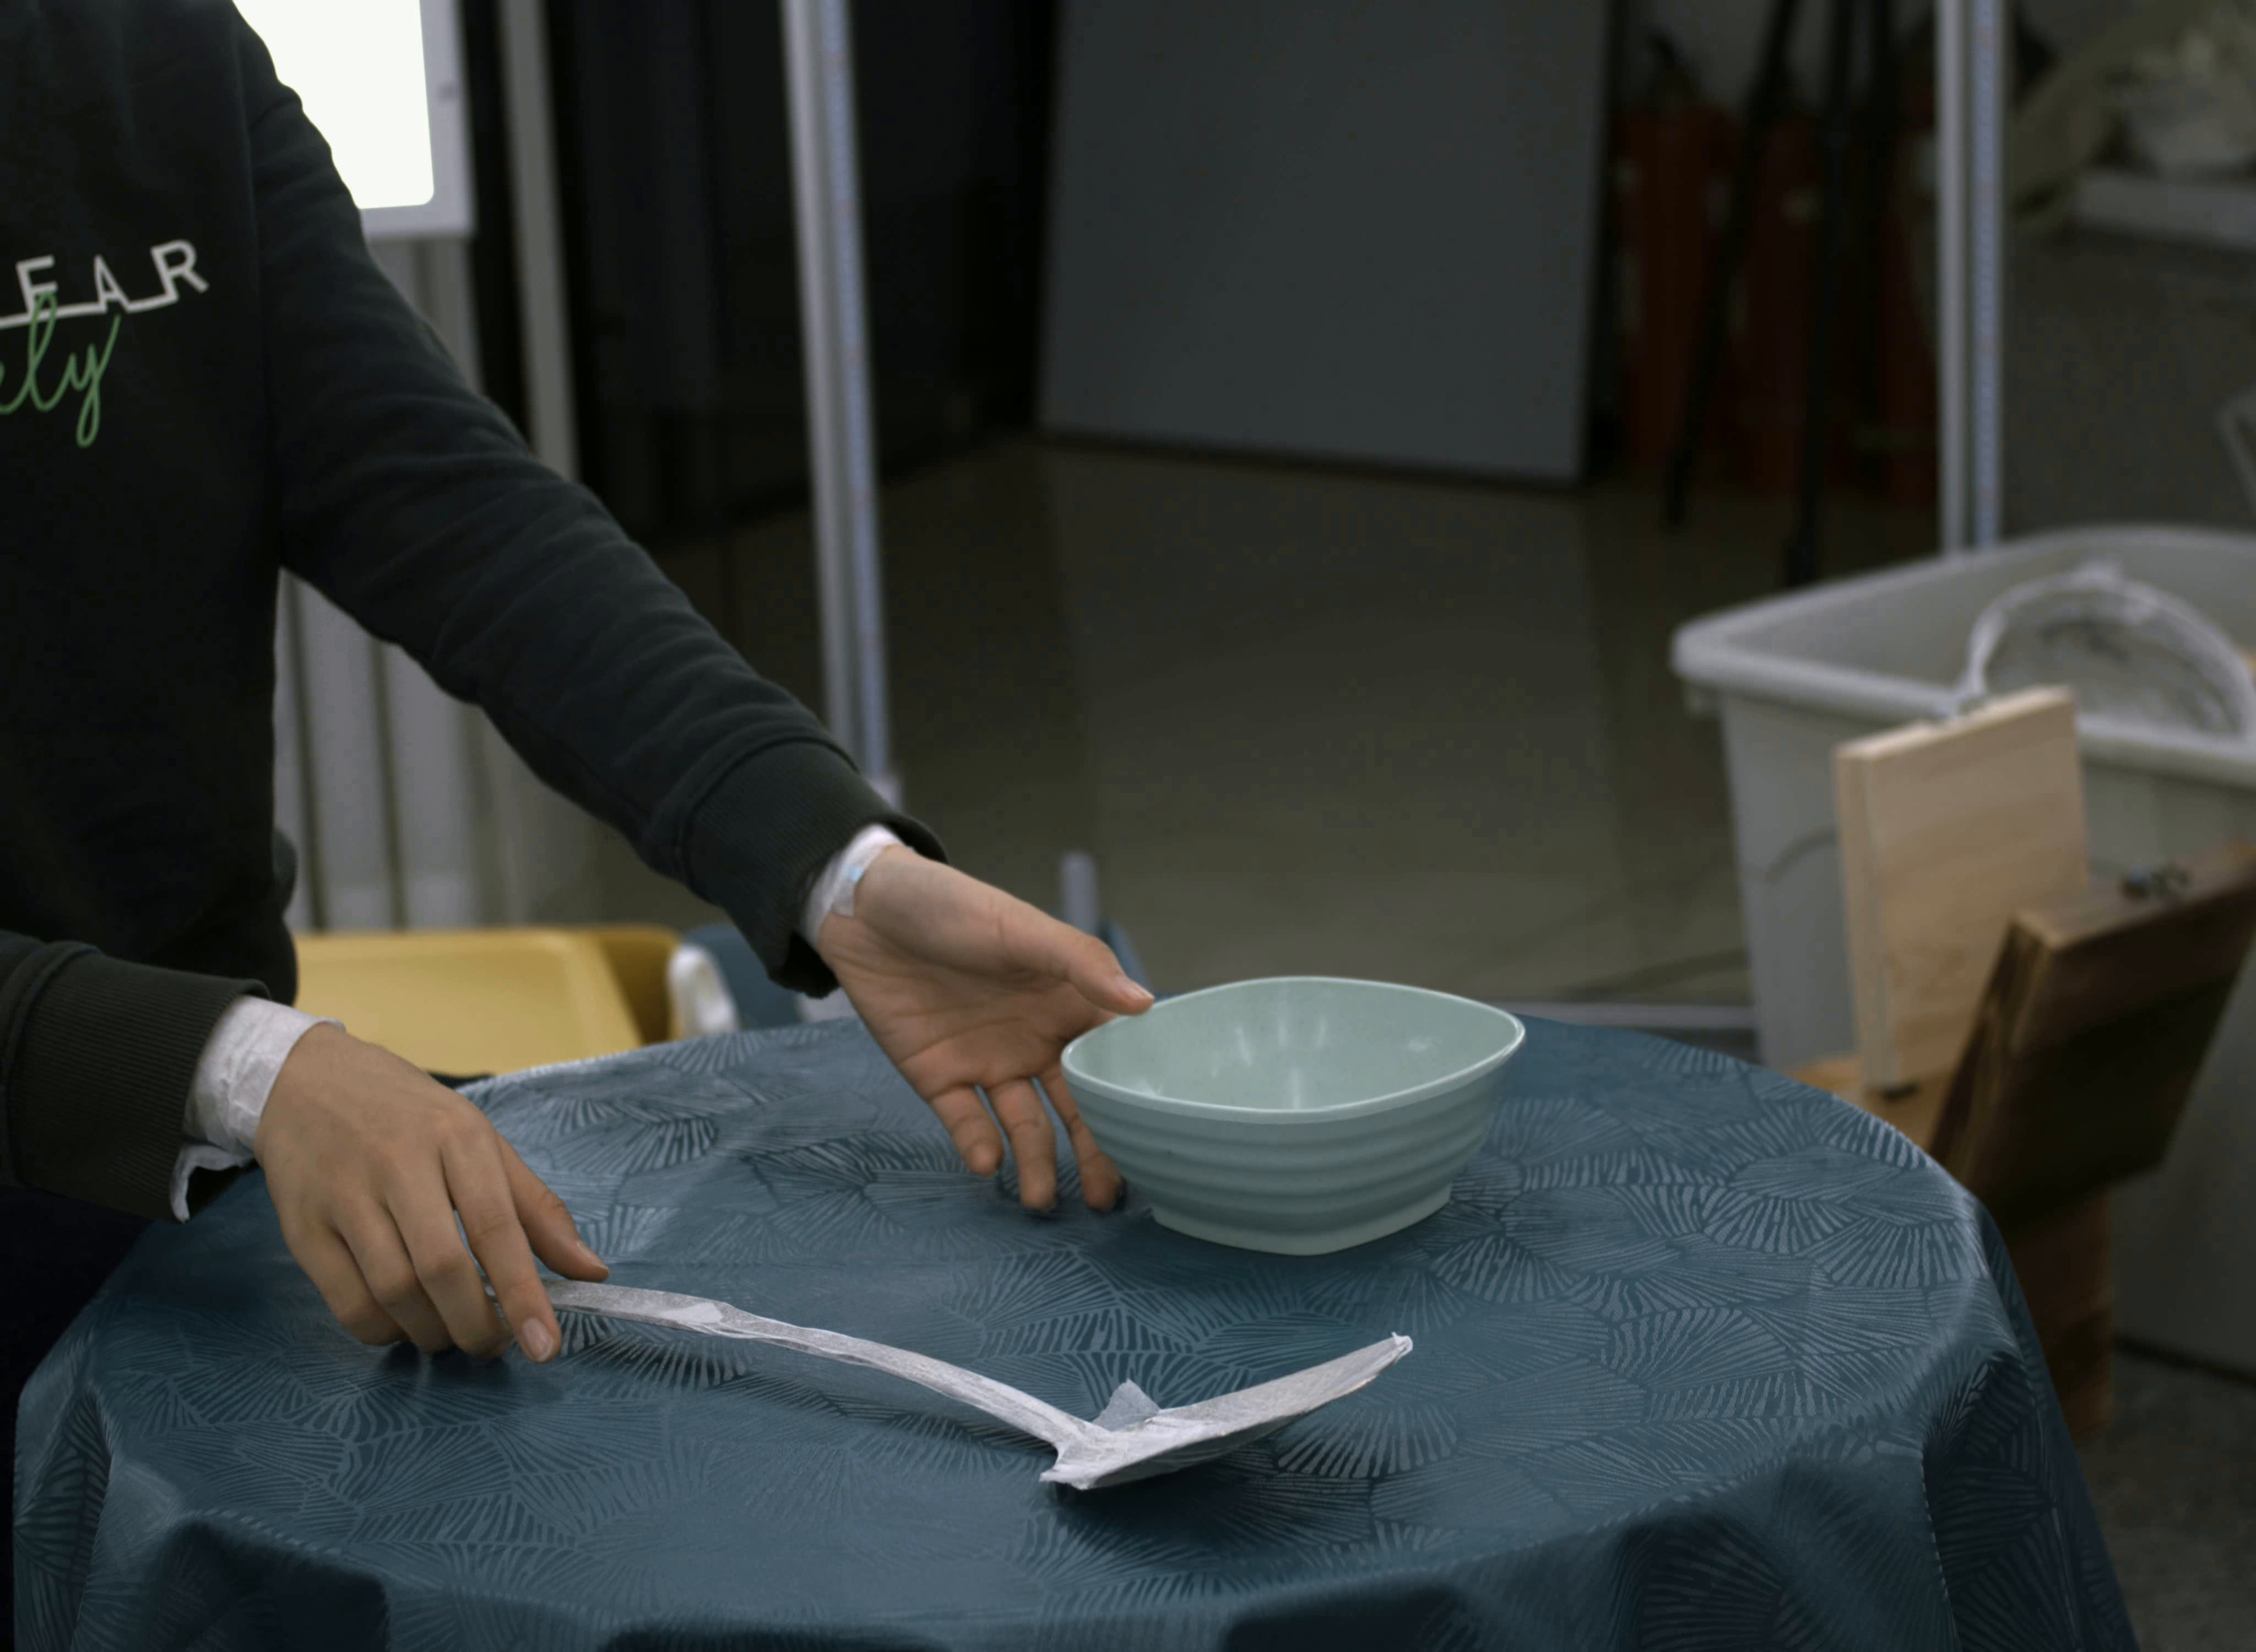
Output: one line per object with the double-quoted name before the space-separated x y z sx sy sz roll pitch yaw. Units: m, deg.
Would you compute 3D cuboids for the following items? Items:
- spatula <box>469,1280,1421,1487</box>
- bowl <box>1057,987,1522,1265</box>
"spatula" -0.075 0.152 1.589 0.368 0.045 0.097 8 20 40
"bowl" 0.053 0.099 1.734 0.149 0.059 0.151 -2 13 0
